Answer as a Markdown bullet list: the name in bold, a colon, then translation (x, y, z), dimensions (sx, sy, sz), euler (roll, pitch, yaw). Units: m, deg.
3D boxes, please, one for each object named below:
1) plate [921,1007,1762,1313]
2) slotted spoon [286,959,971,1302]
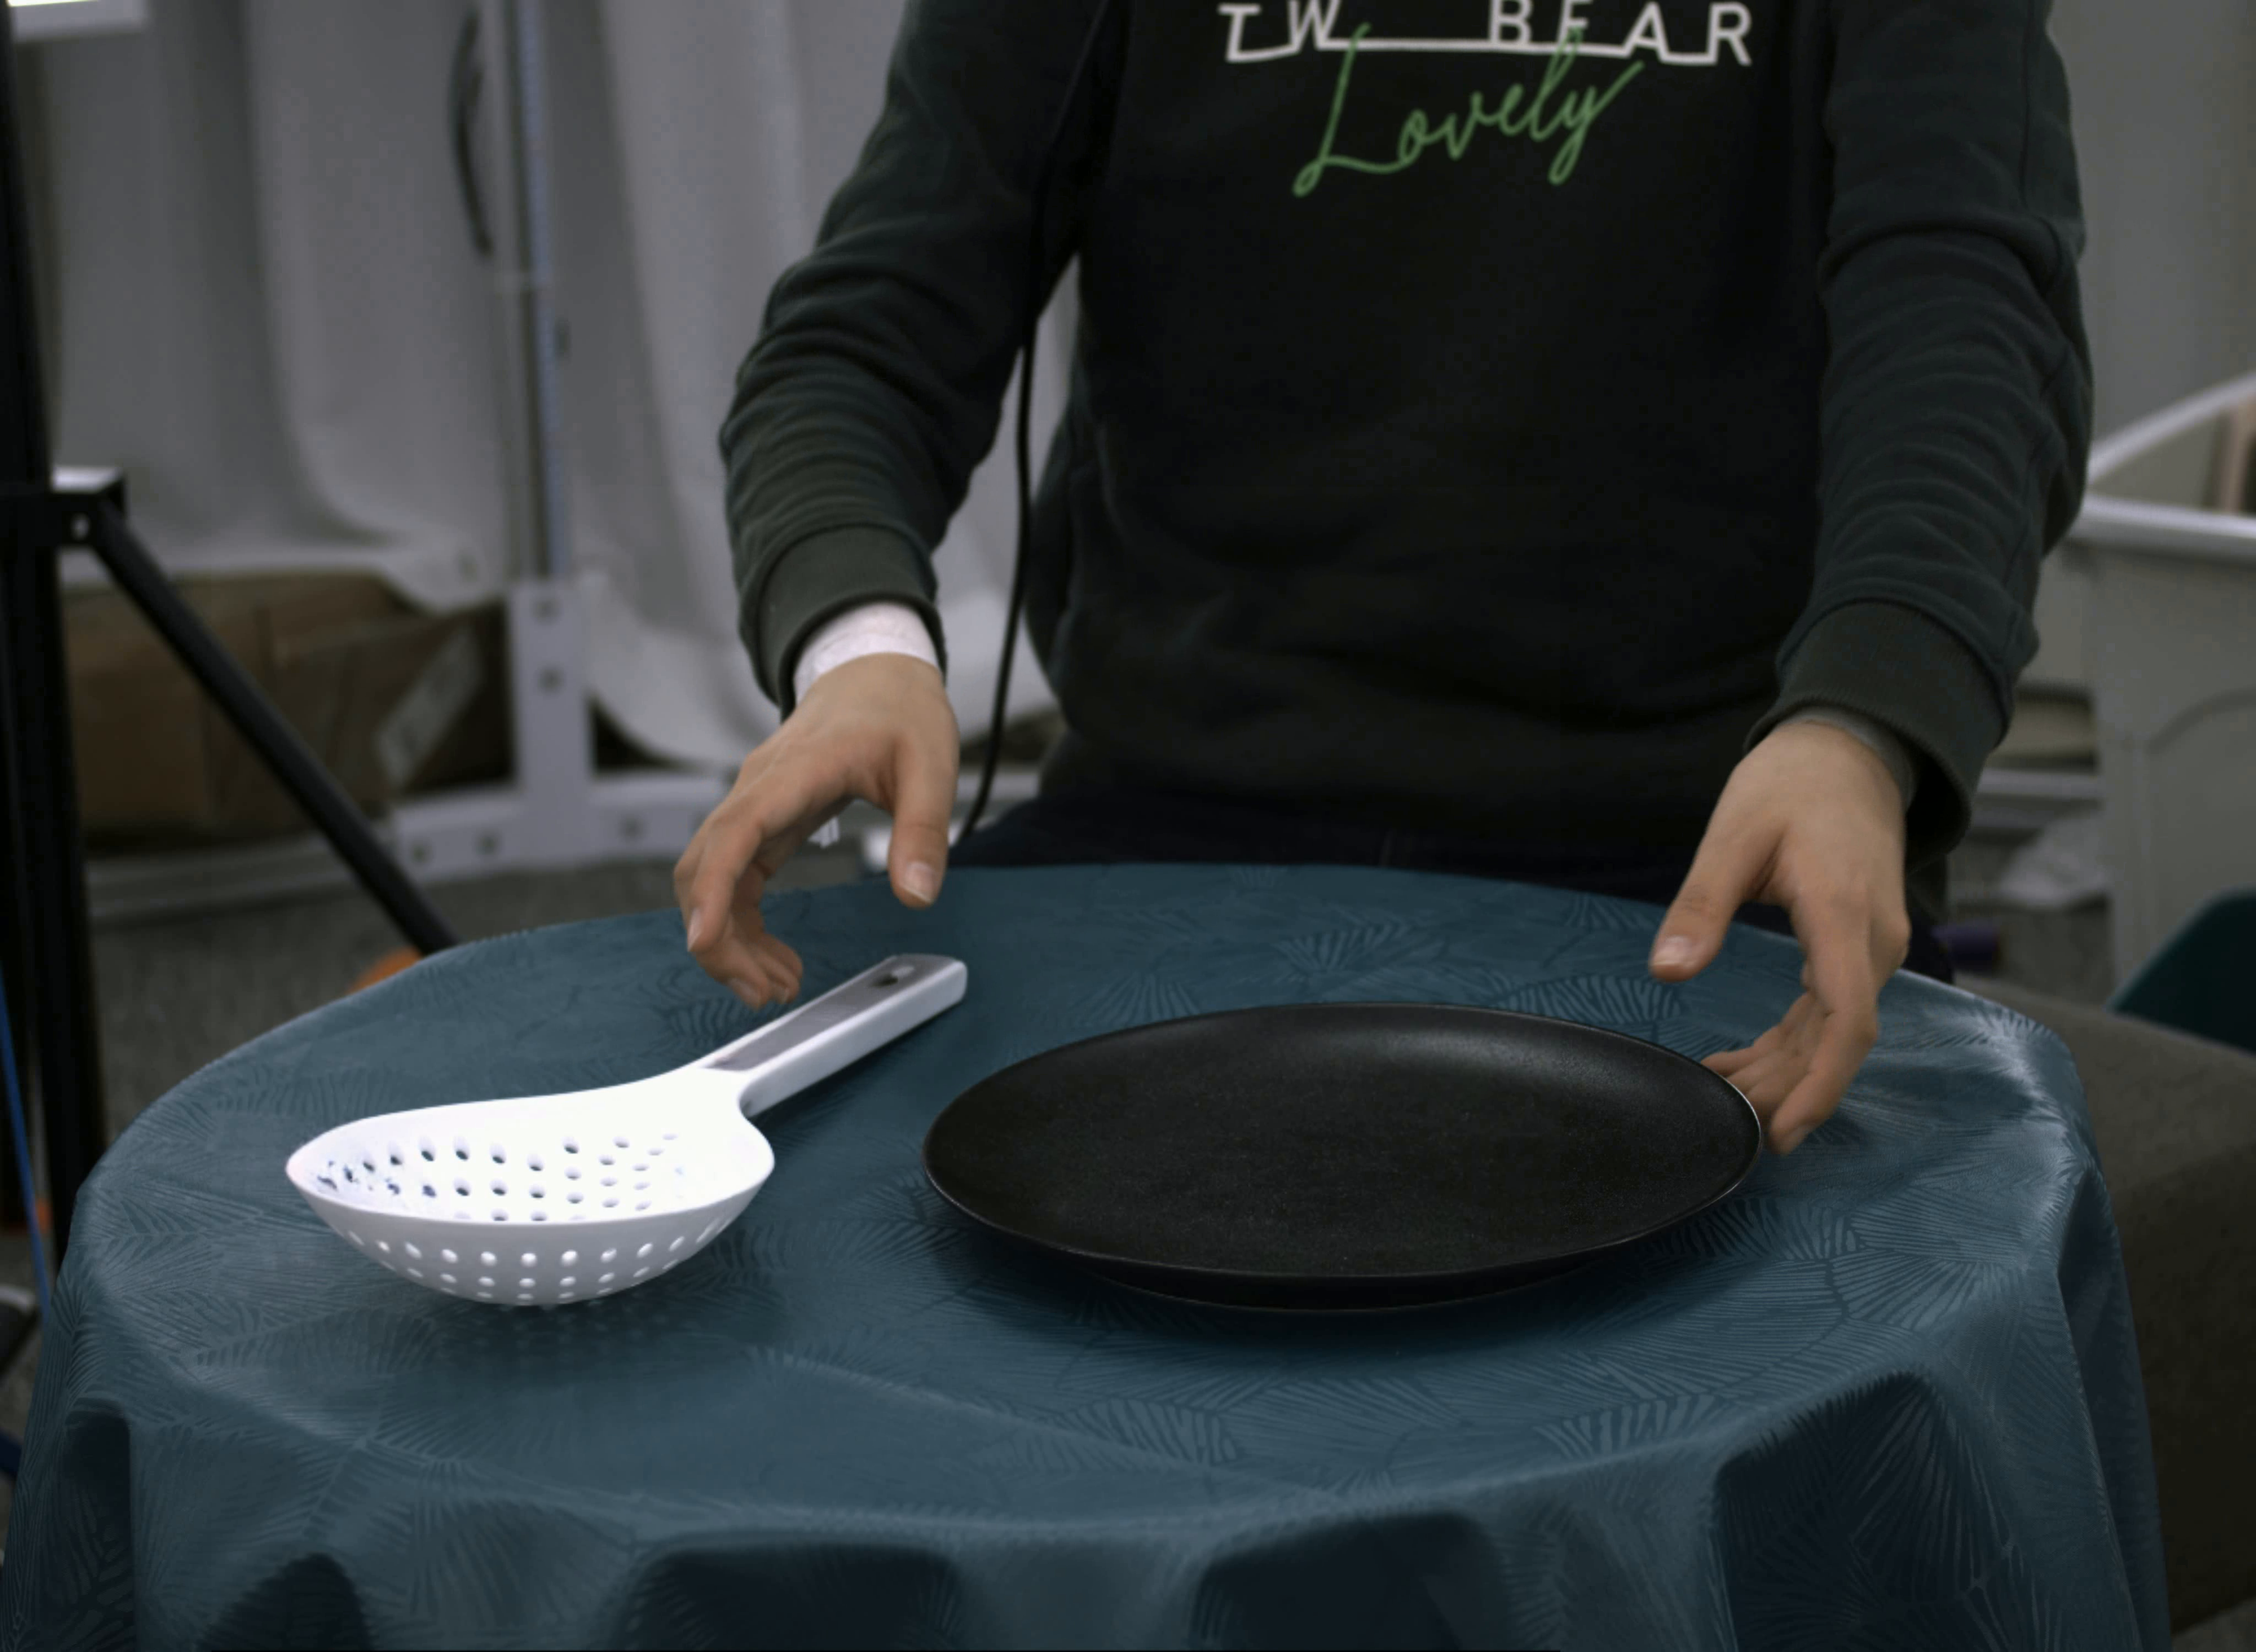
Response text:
- **plate**: translation (0.062, 0.099, 1.537), dimensions (0.243, 0.023, 0.245), euler (-3, 16, -1)
- **slotted spoon**: translation (-0.128, 0.081, 1.591), dimensions (0.138, 0.046, 0.345), euler (6, 17, 21)
